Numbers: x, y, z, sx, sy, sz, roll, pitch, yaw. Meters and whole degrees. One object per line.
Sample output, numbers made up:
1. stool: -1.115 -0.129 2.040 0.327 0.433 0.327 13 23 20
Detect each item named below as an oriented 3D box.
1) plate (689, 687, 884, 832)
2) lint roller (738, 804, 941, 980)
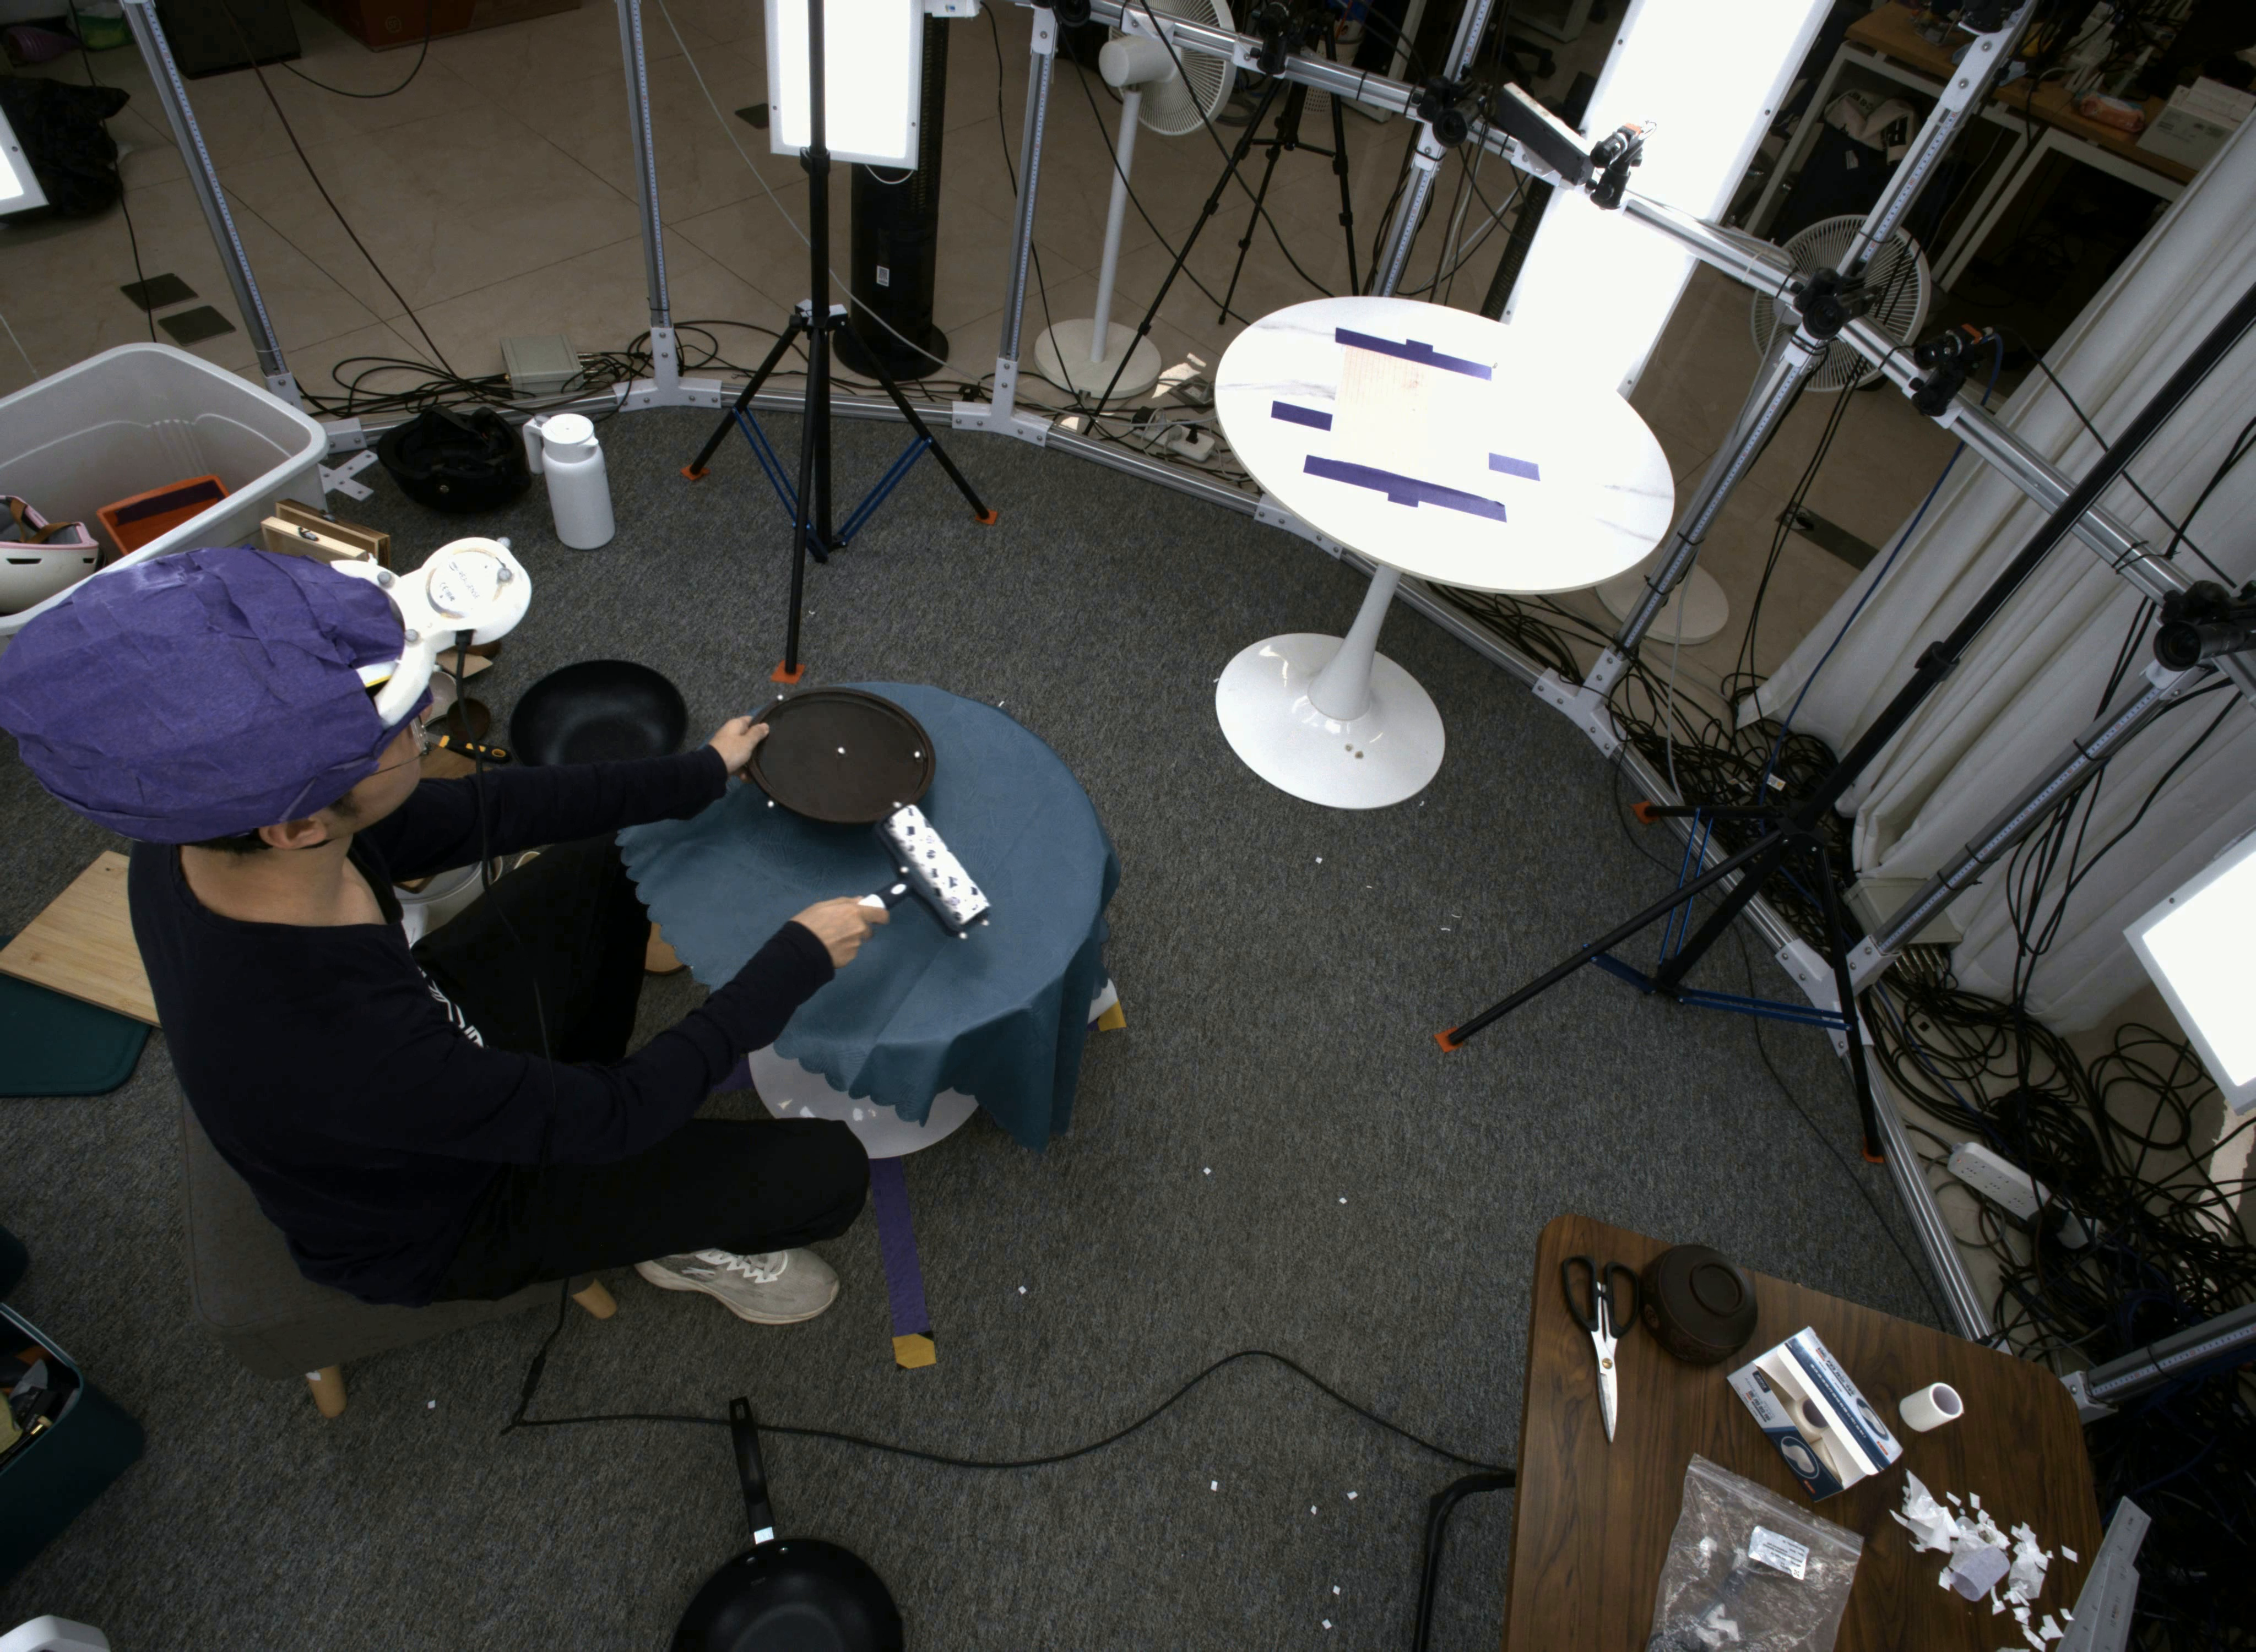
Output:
1. plate: -0.450 -0.090 1.715 0.255 0.029 0.250 11 47 -10
2. lint roller: -0.363 0.101 1.555 0.177 0.050 0.247 51 55 -1
